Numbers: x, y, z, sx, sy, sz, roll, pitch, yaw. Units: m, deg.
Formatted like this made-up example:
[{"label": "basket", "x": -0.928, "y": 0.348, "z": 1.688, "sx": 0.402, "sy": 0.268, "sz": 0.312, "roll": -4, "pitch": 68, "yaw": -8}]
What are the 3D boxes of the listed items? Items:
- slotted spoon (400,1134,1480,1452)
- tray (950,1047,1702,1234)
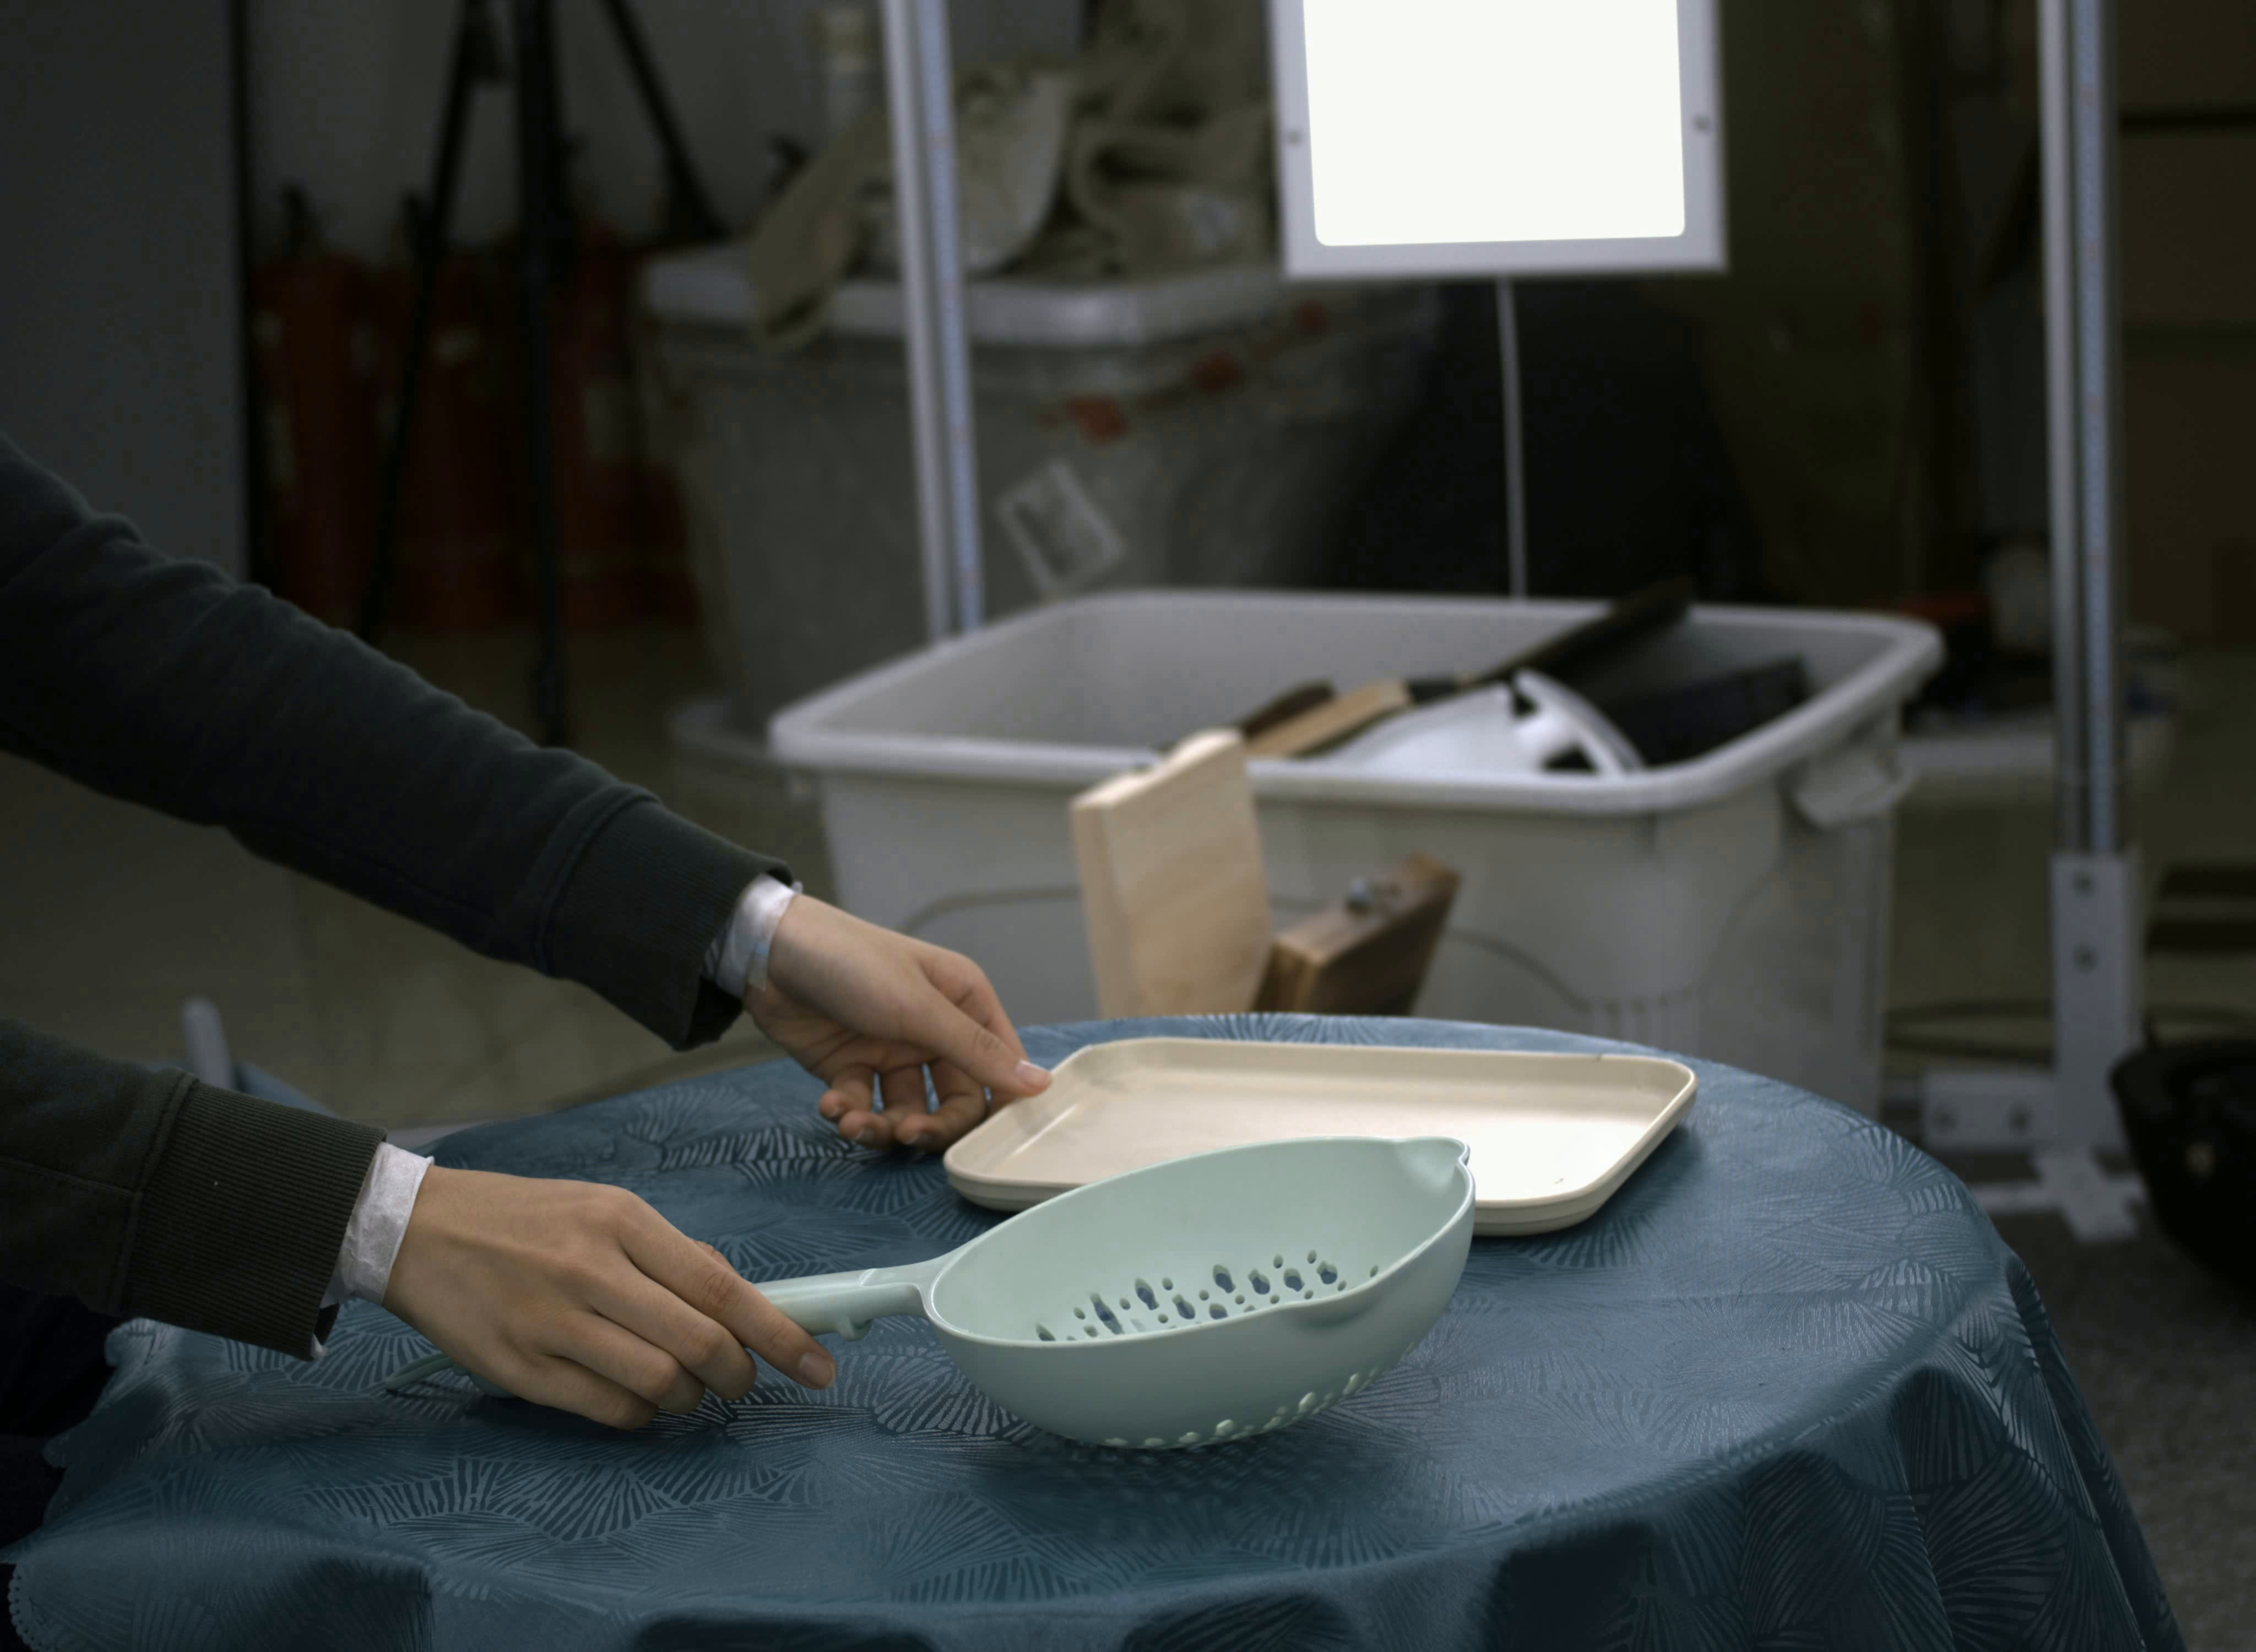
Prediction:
[{"label": "slotted spoon", "x": -0.065, "y": 0.148, "z": 1.697, "sx": 0.363, "sy": 0.075, "sz": 0.166, "roll": 0, "pitch": 16, "yaw": 20}, {"label": "tray", "x": 0.070, "y": 0.109, "z": 1.910, "sx": 0.243, "sy": 0.017, "sz": 0.168, "roll": 0, "pitch": 14, "yaw": 23}]
